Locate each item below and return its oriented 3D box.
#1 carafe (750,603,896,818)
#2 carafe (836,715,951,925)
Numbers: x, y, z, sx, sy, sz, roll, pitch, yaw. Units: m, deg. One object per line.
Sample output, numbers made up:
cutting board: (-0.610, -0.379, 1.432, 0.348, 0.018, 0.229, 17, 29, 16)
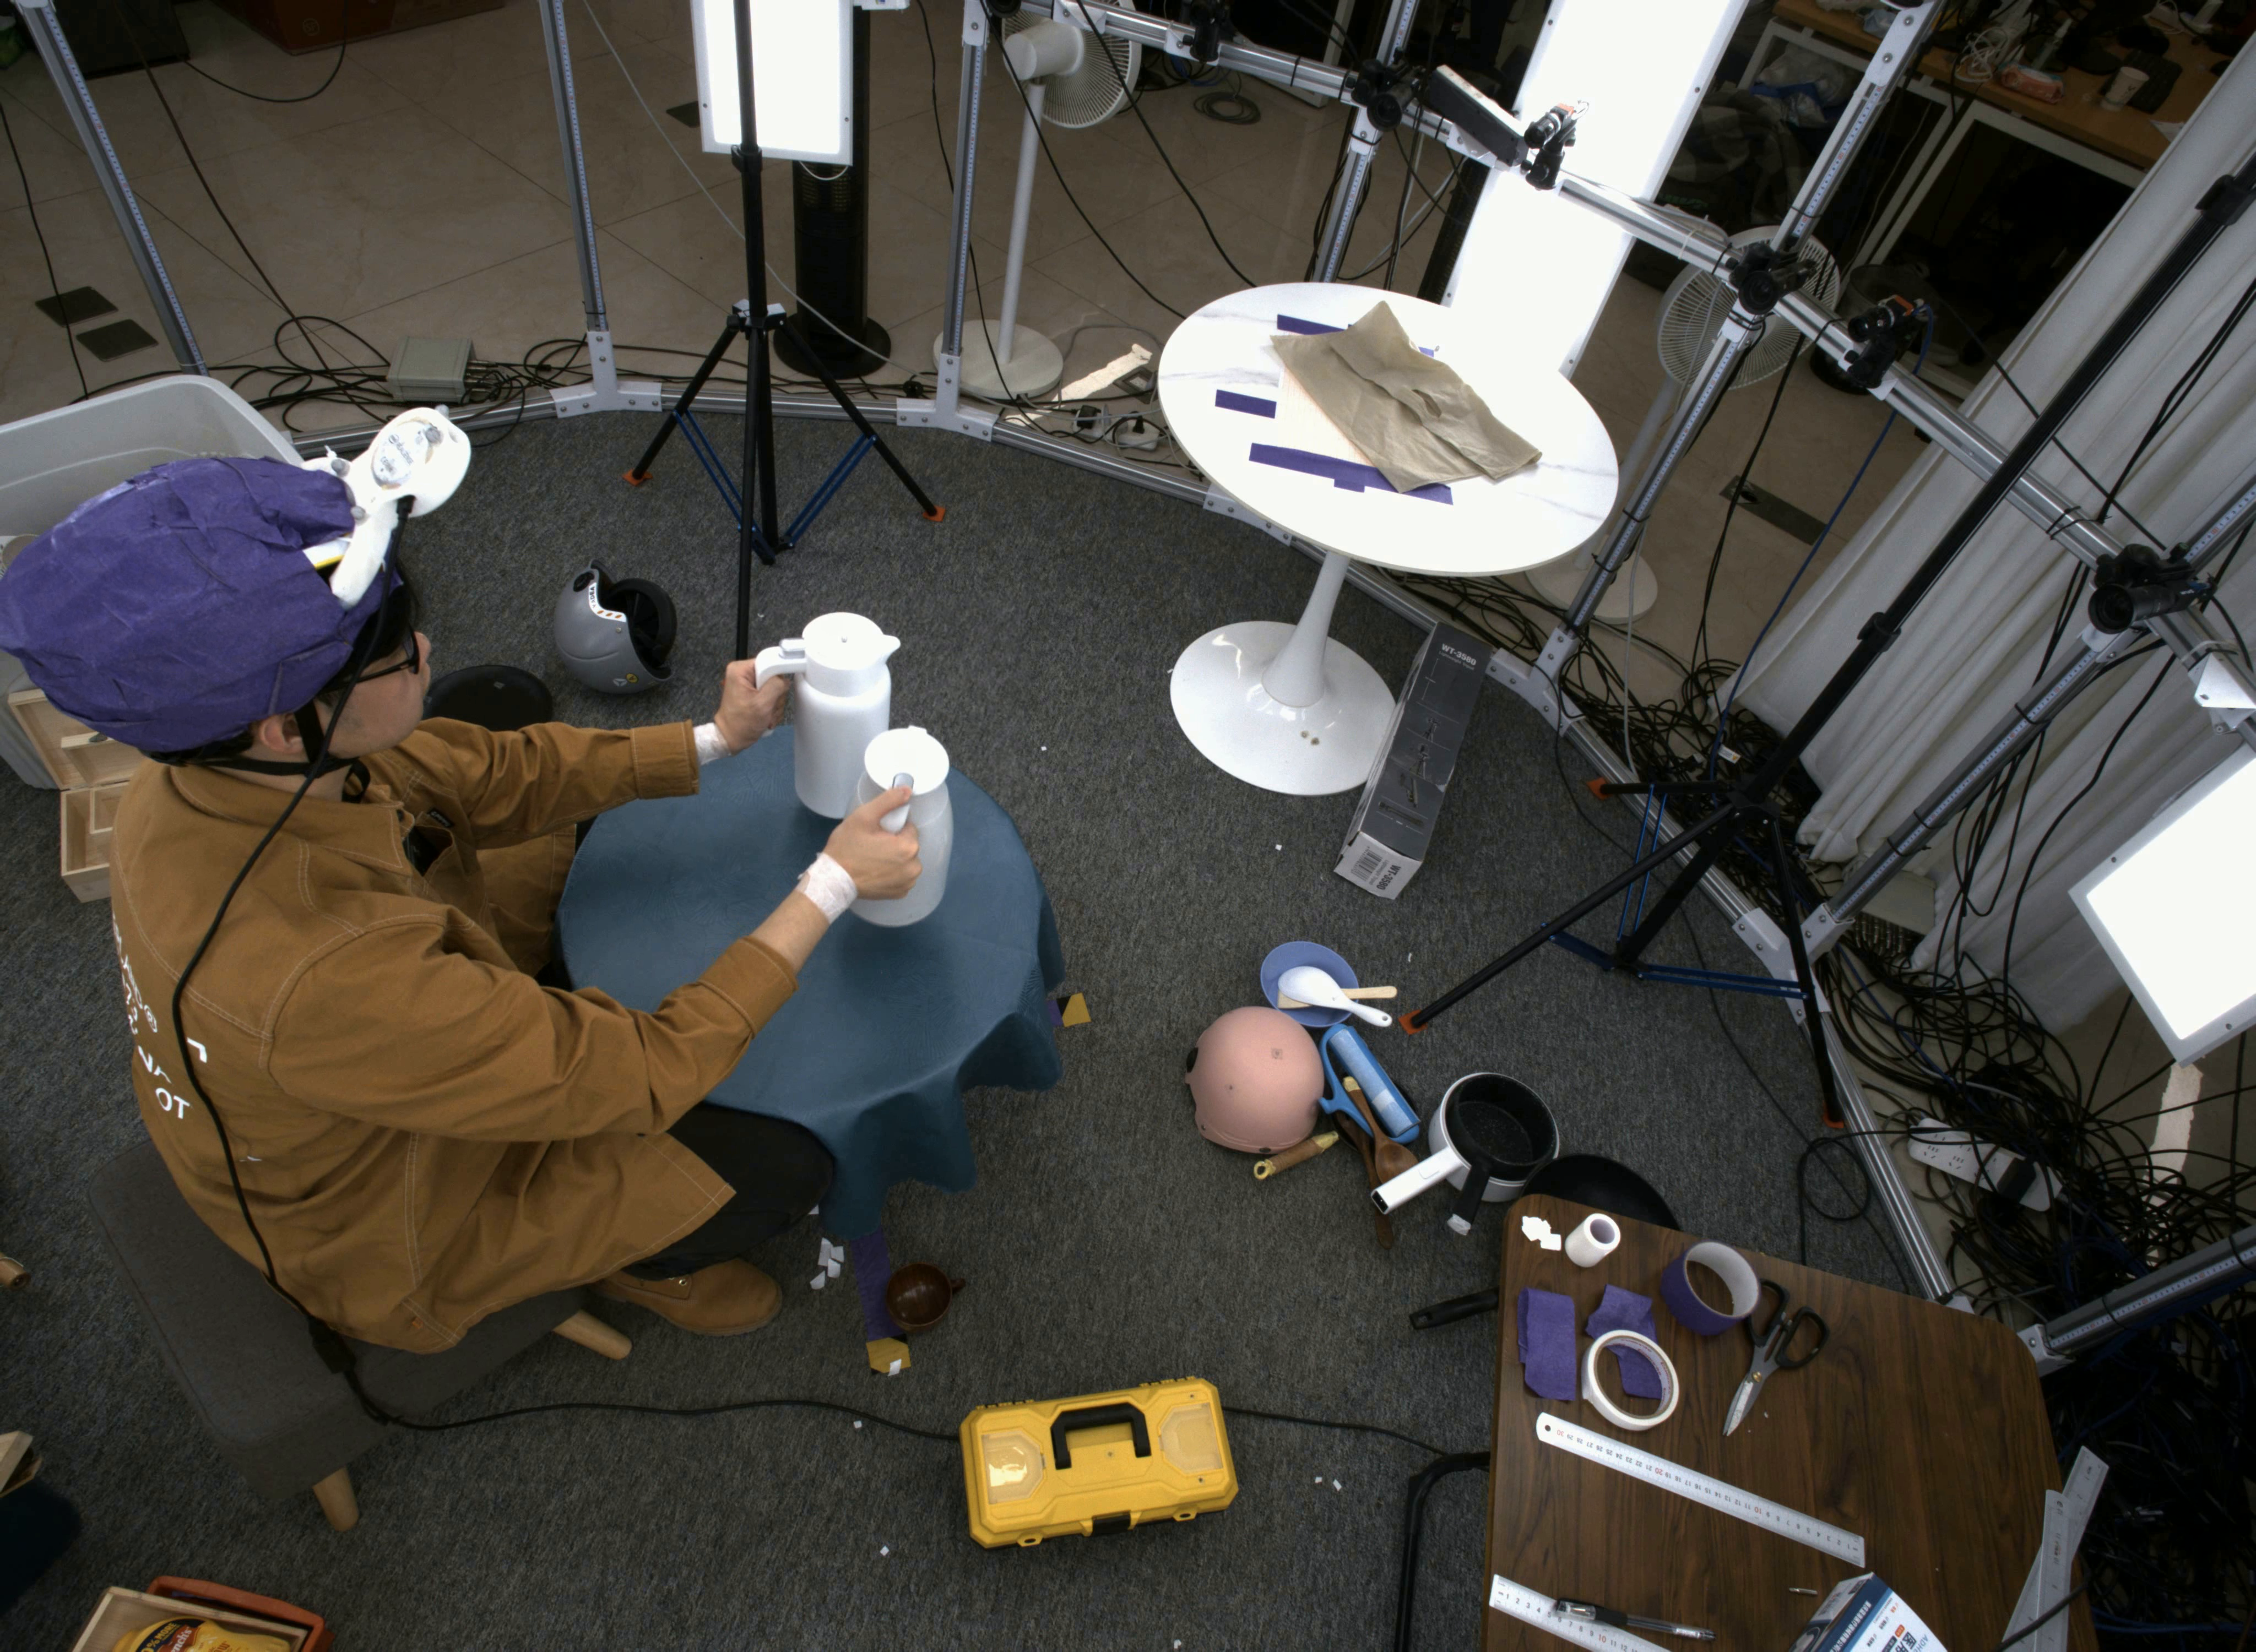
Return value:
carafe: (-0.377, -0.137, 1.609, 0.173, 0.274, 0.121, -8, 54, -19)
carafe: (-0.266, 0.005, 1.473, 0.132, 0.253, 0.165, 10, 53, -7)
